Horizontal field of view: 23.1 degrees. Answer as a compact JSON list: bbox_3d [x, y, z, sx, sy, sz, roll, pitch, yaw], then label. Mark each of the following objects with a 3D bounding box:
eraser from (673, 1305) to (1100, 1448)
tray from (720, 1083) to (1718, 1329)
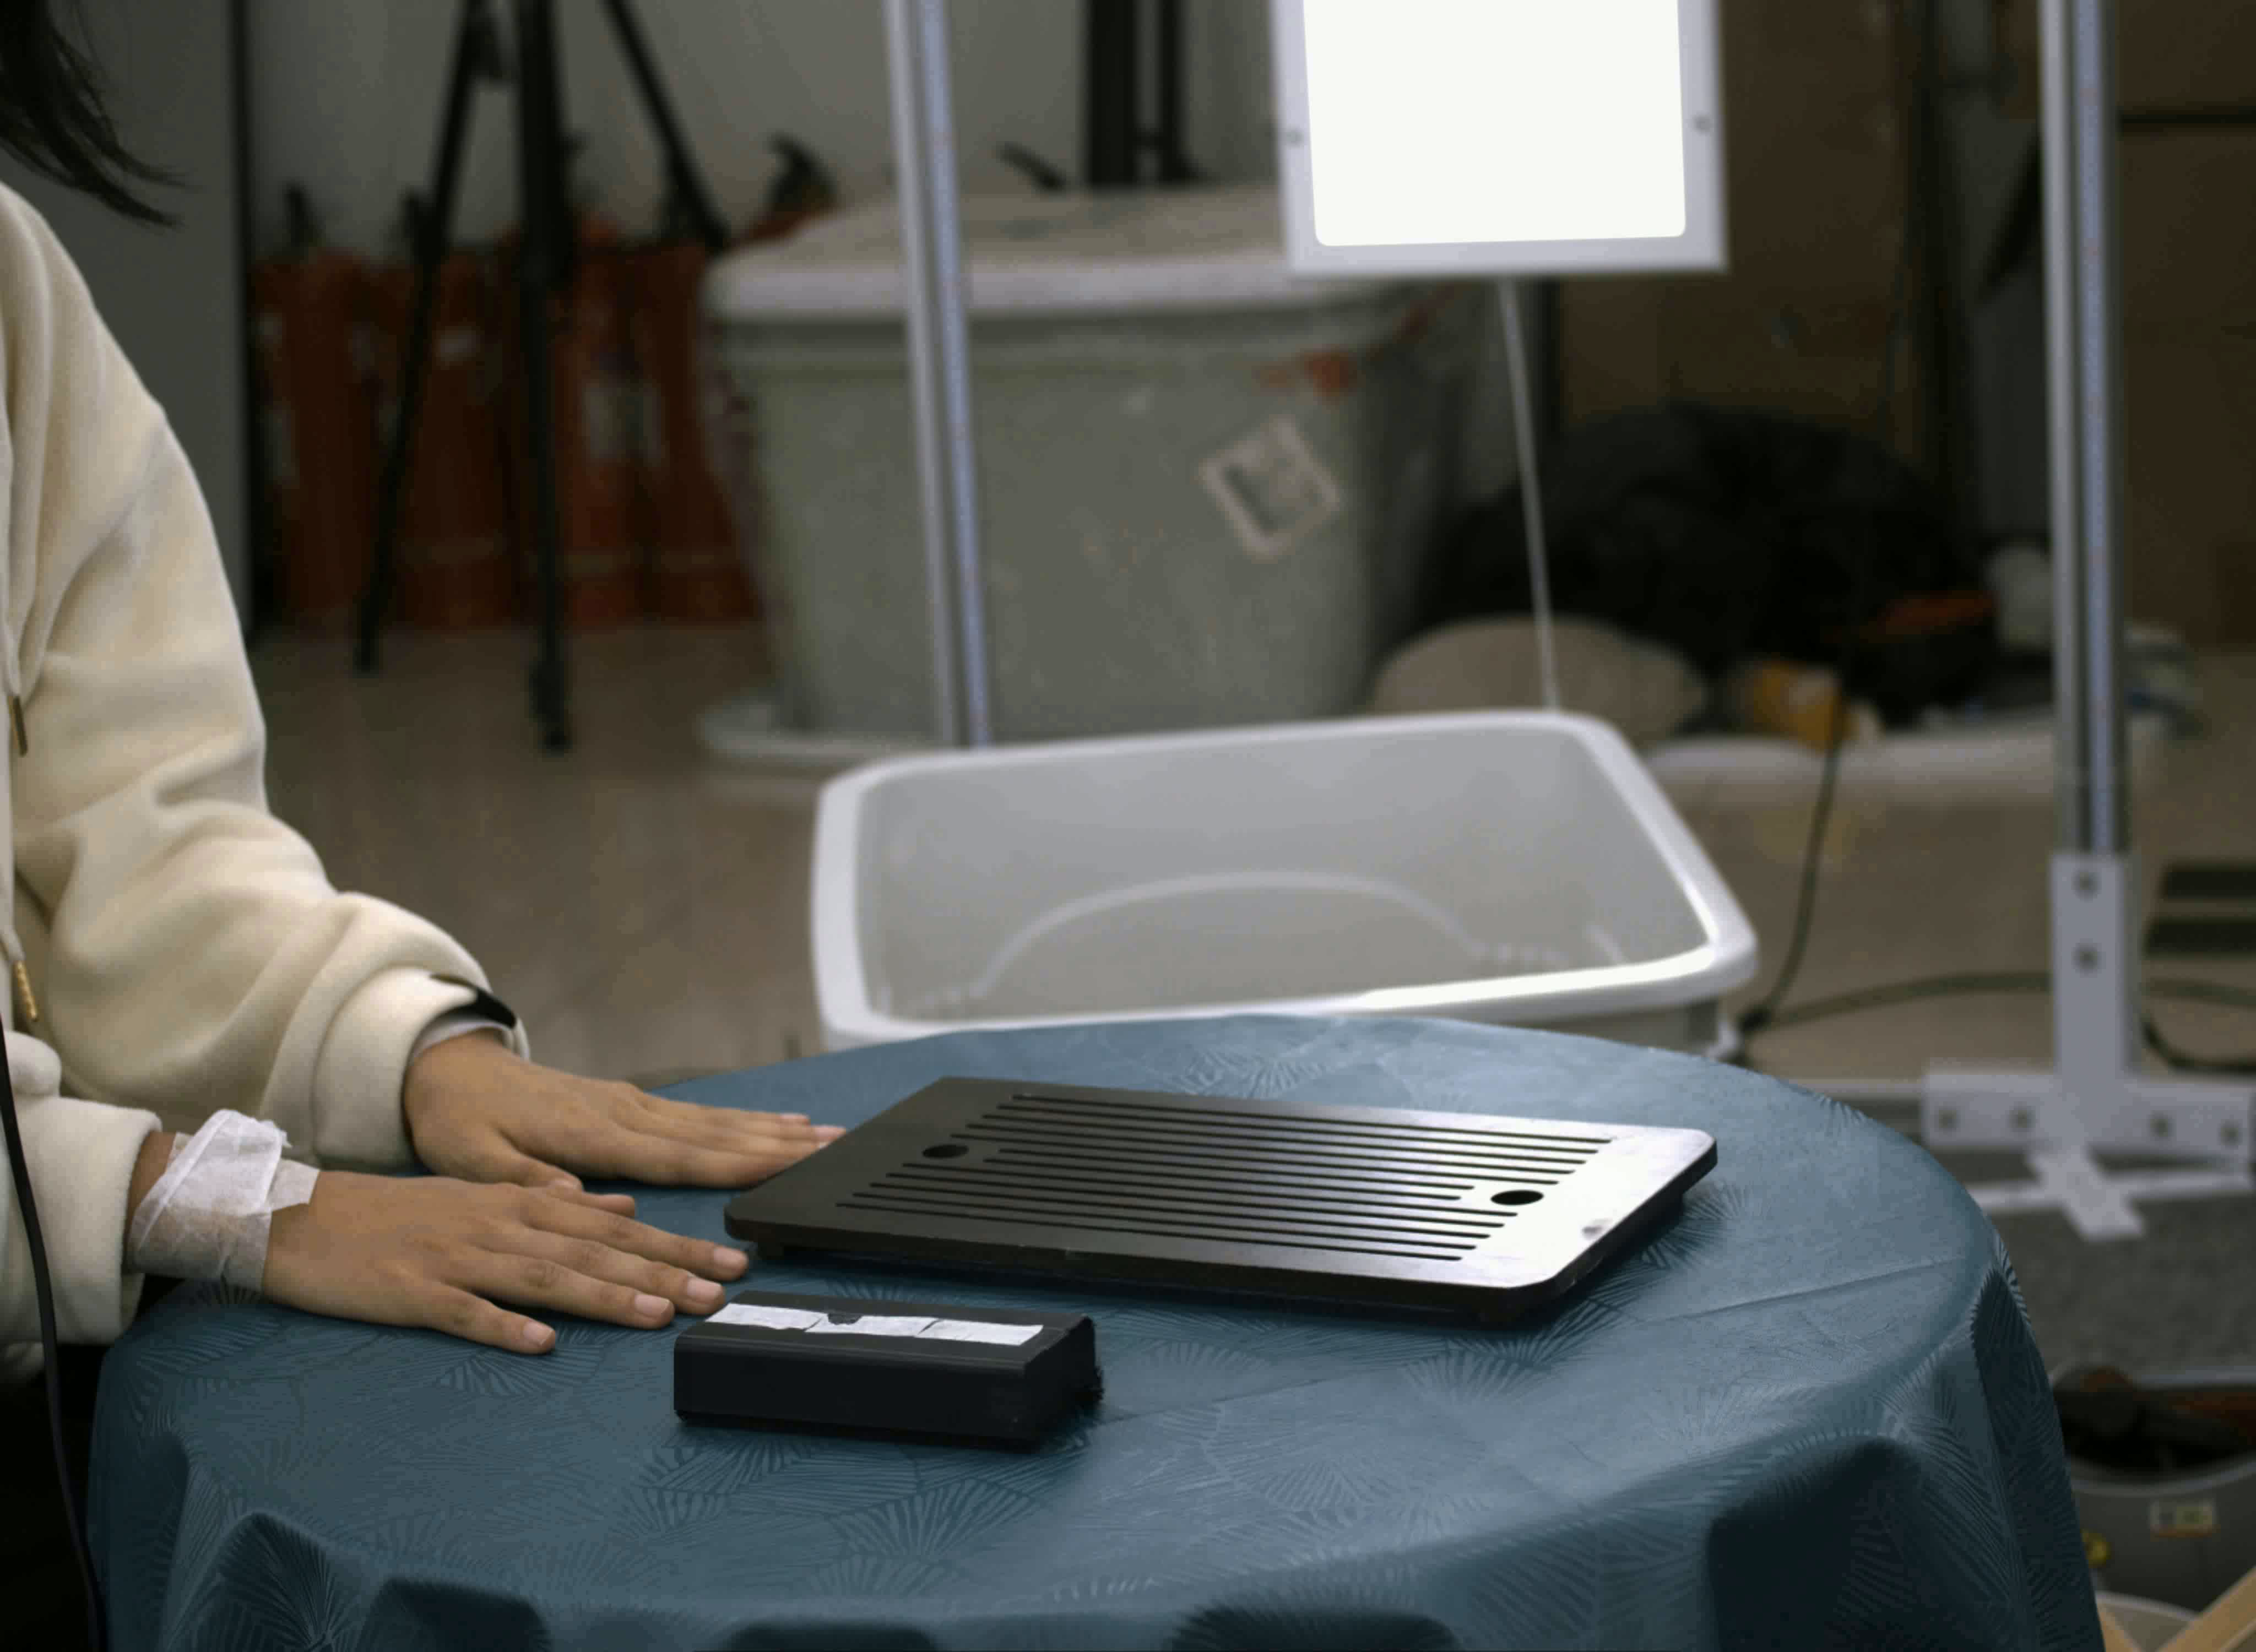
[{"bbox_3d":[-0.073,0.169,1.698,0.127,0.030,0.052,0,12,26],"label":"eraser"},{"bbox_3d":[0.031,0.126,1.852,0.311,0.019,0.166,3,16,29],"label":"tray"}]
